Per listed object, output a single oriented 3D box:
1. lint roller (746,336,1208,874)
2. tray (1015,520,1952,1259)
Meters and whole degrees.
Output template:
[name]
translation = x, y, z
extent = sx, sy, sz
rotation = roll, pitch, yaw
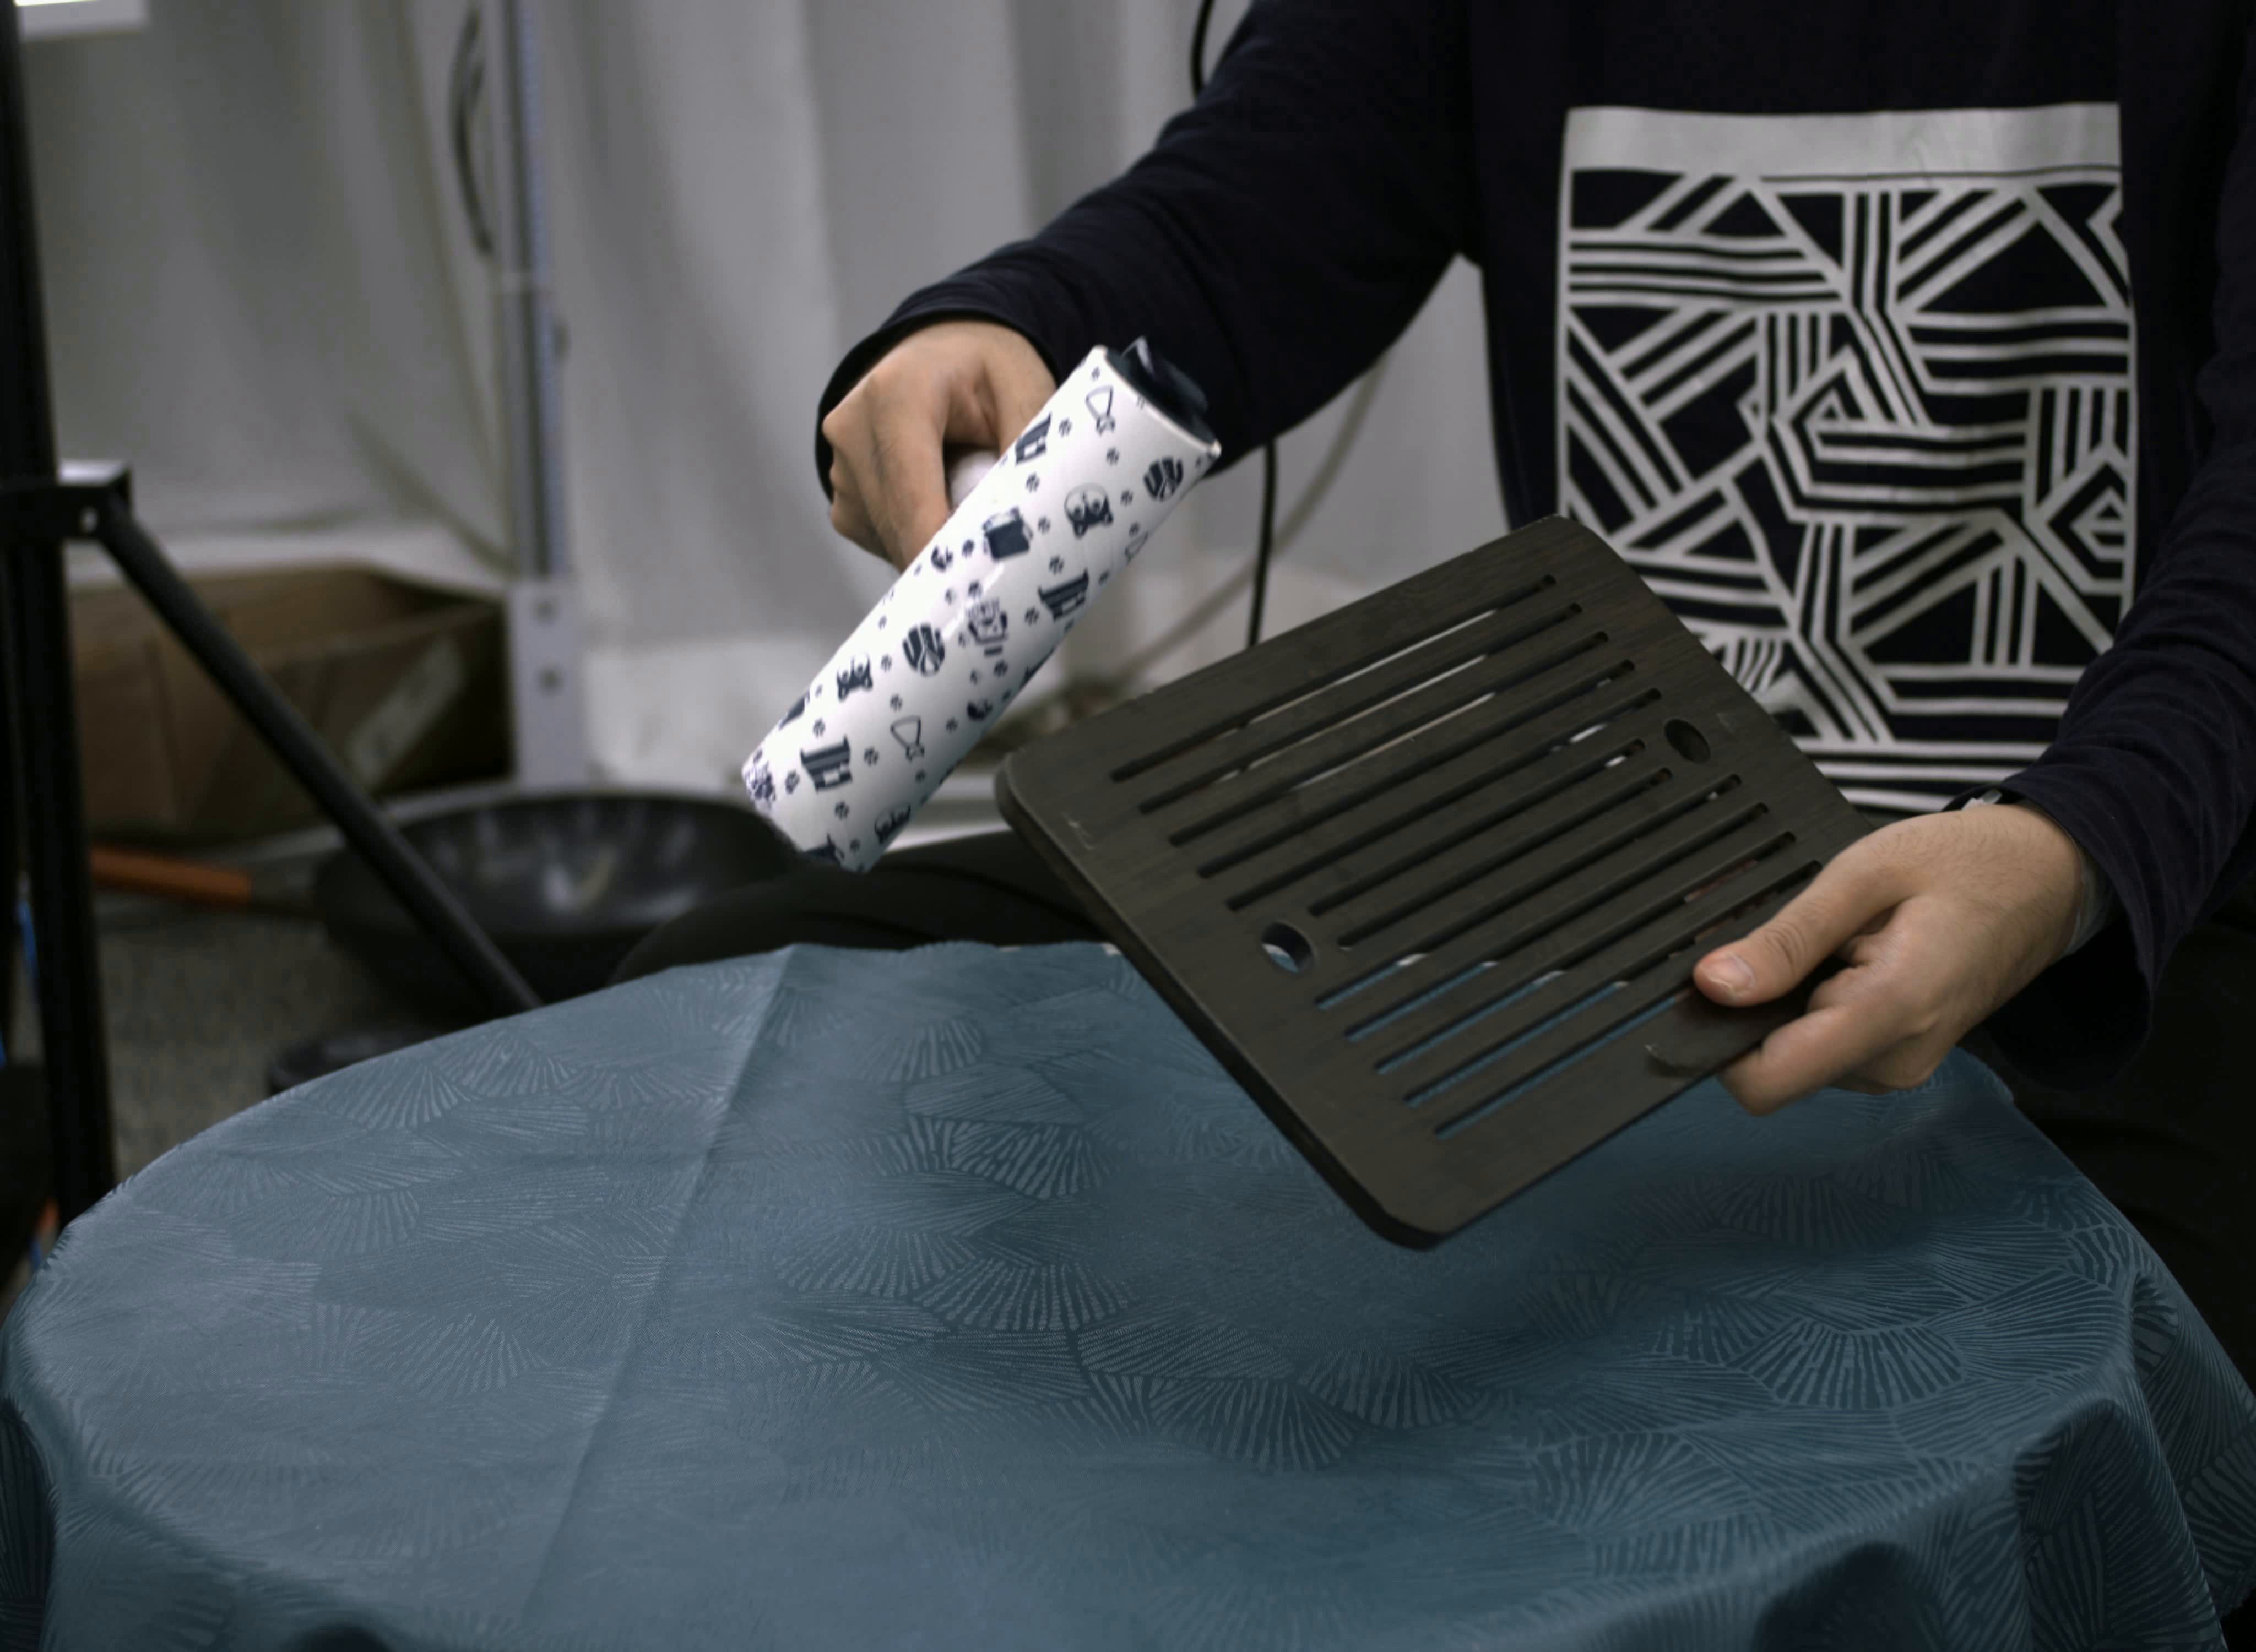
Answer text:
[lint roller]
translation = -0.045, -0.086, 1.614
extent = 0.050, 0.177, 0.248
rotation = 37, 11, -10
[tray]
translation = 0.103, 0.012, 1.455
extent = 0.172, 0.019, 0.300
rotation = 48, 36, 14
